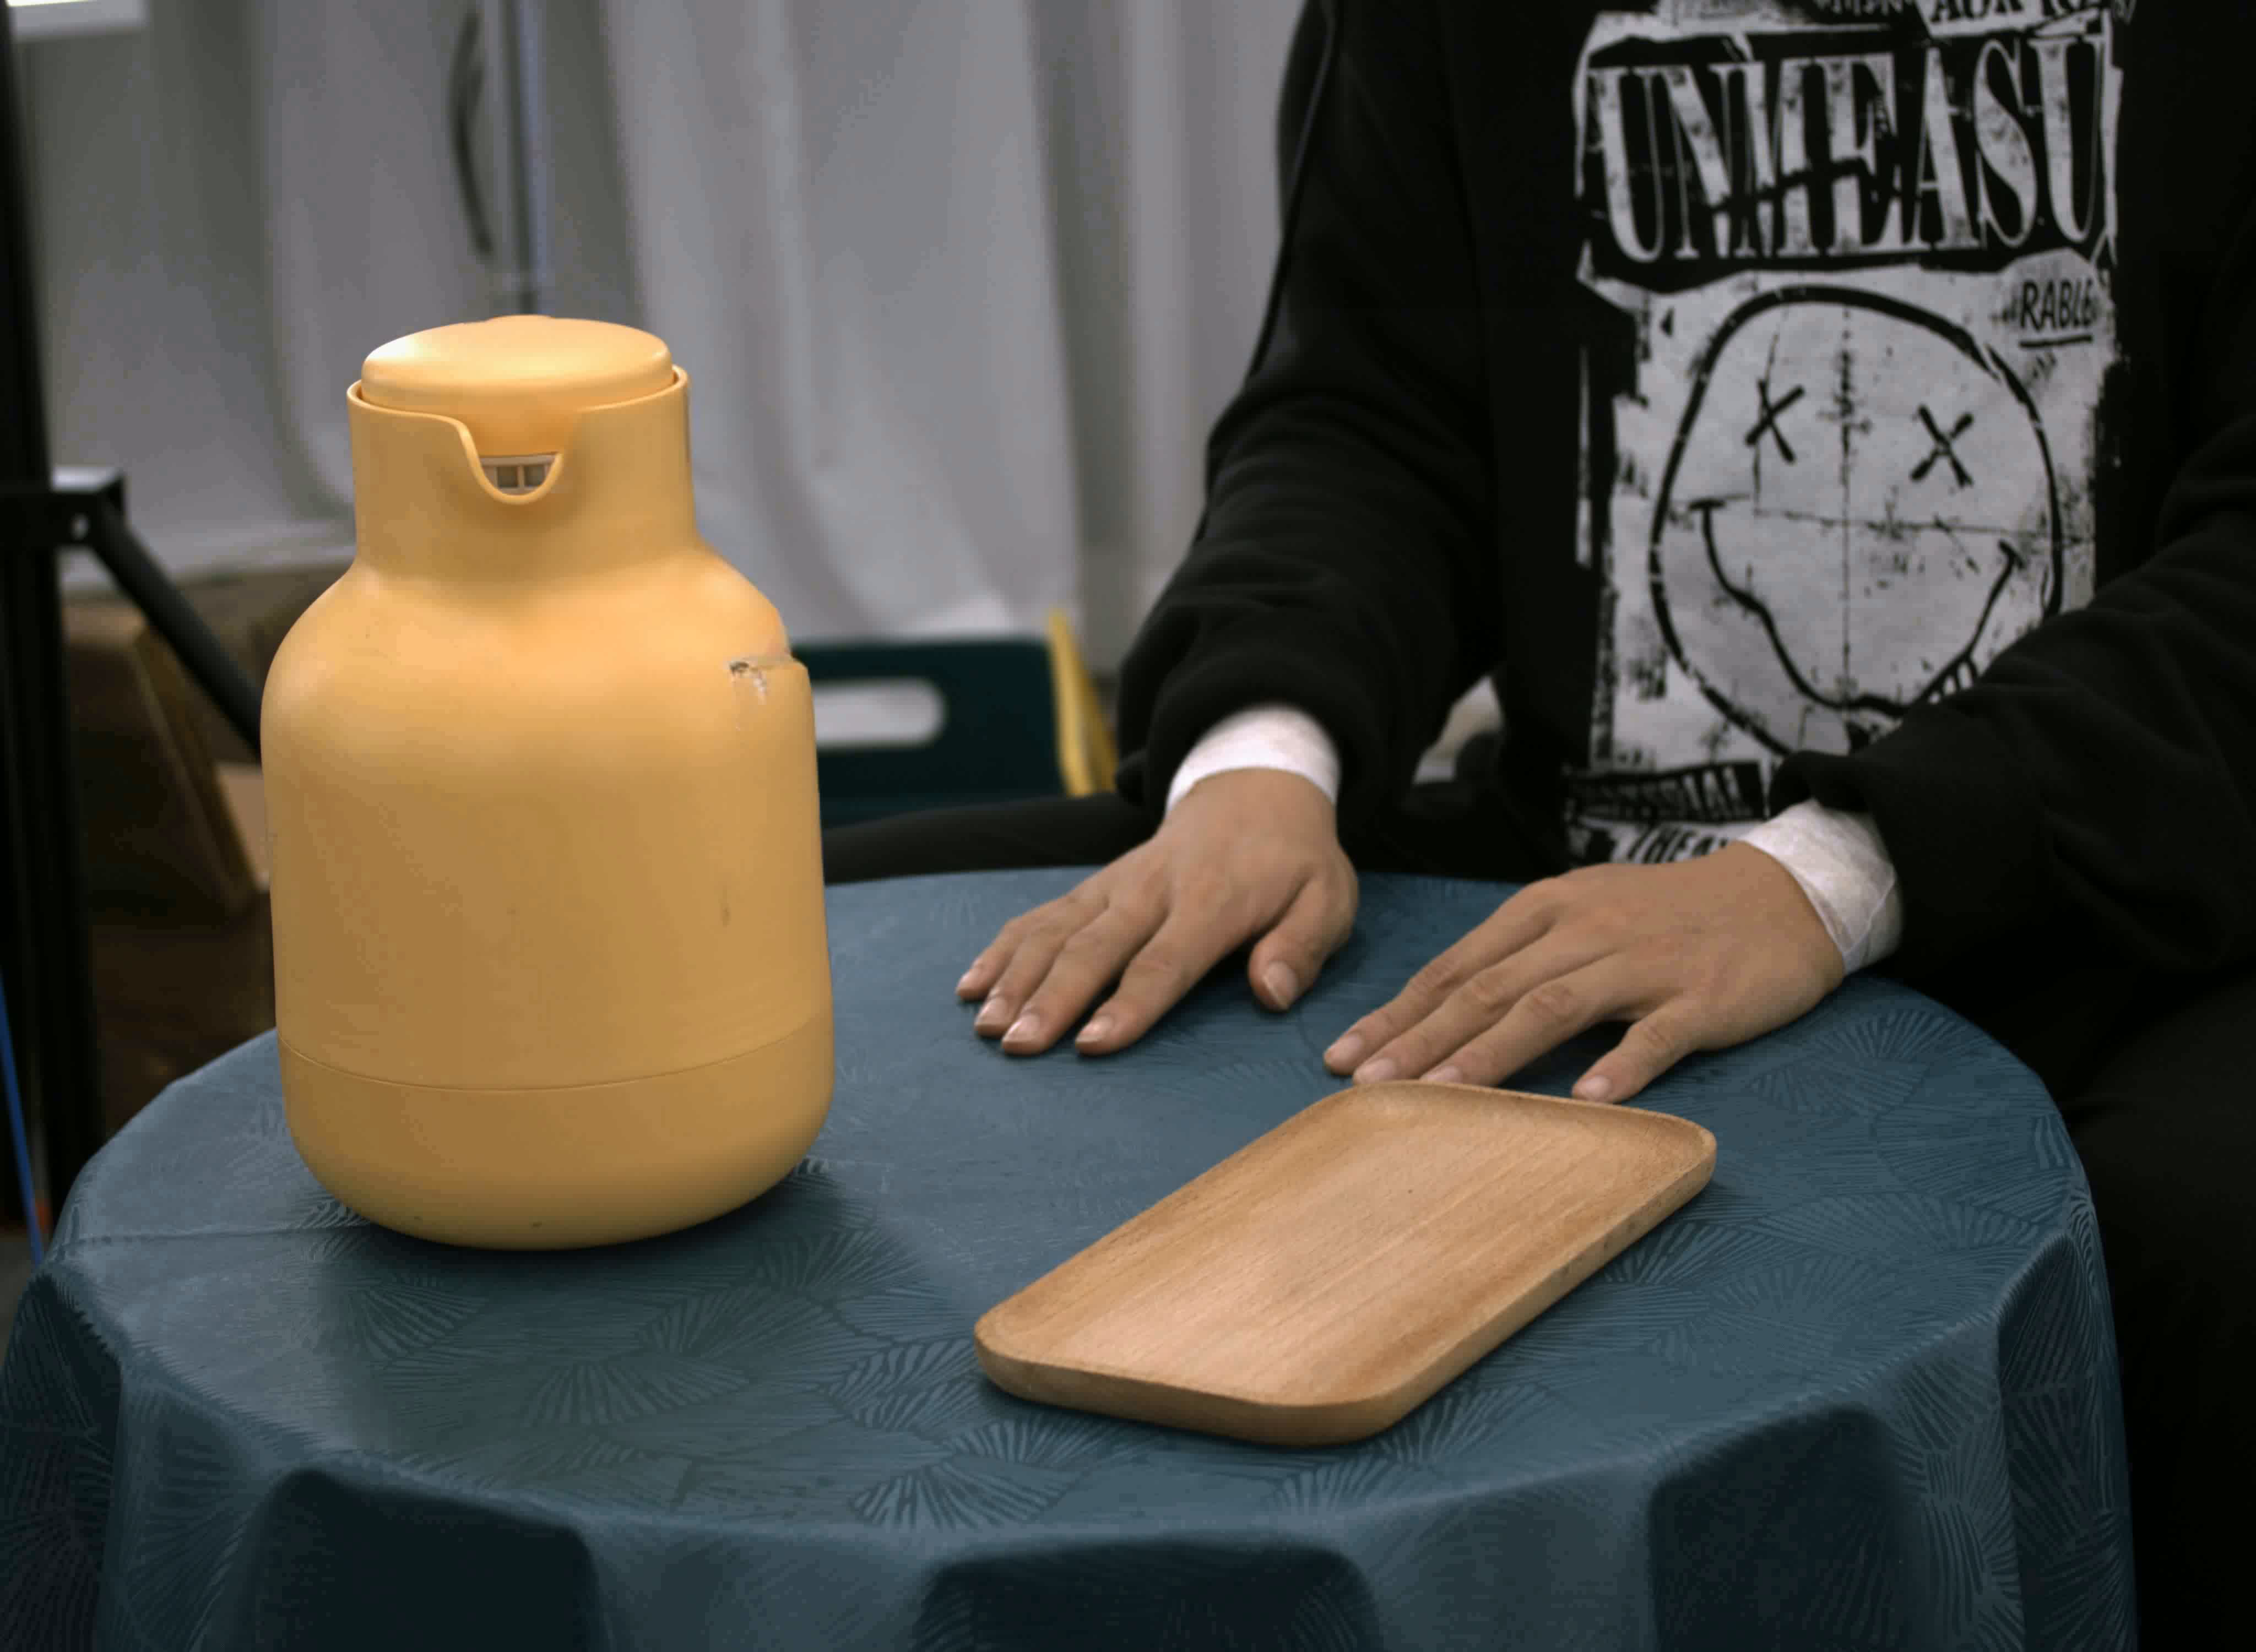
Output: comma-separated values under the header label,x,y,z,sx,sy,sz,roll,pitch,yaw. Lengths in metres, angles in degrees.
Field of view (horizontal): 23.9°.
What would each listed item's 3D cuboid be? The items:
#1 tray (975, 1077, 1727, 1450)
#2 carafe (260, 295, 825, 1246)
label,x,y,z,sx,sy,sz,roll,pitch,yaw
tray,0.066,0.119,1.474,0.133,0.023,0.246,10,19,30
carafe,-0.170,-0.024,1.569,0.162,0.260,0.203,0,17,-2
